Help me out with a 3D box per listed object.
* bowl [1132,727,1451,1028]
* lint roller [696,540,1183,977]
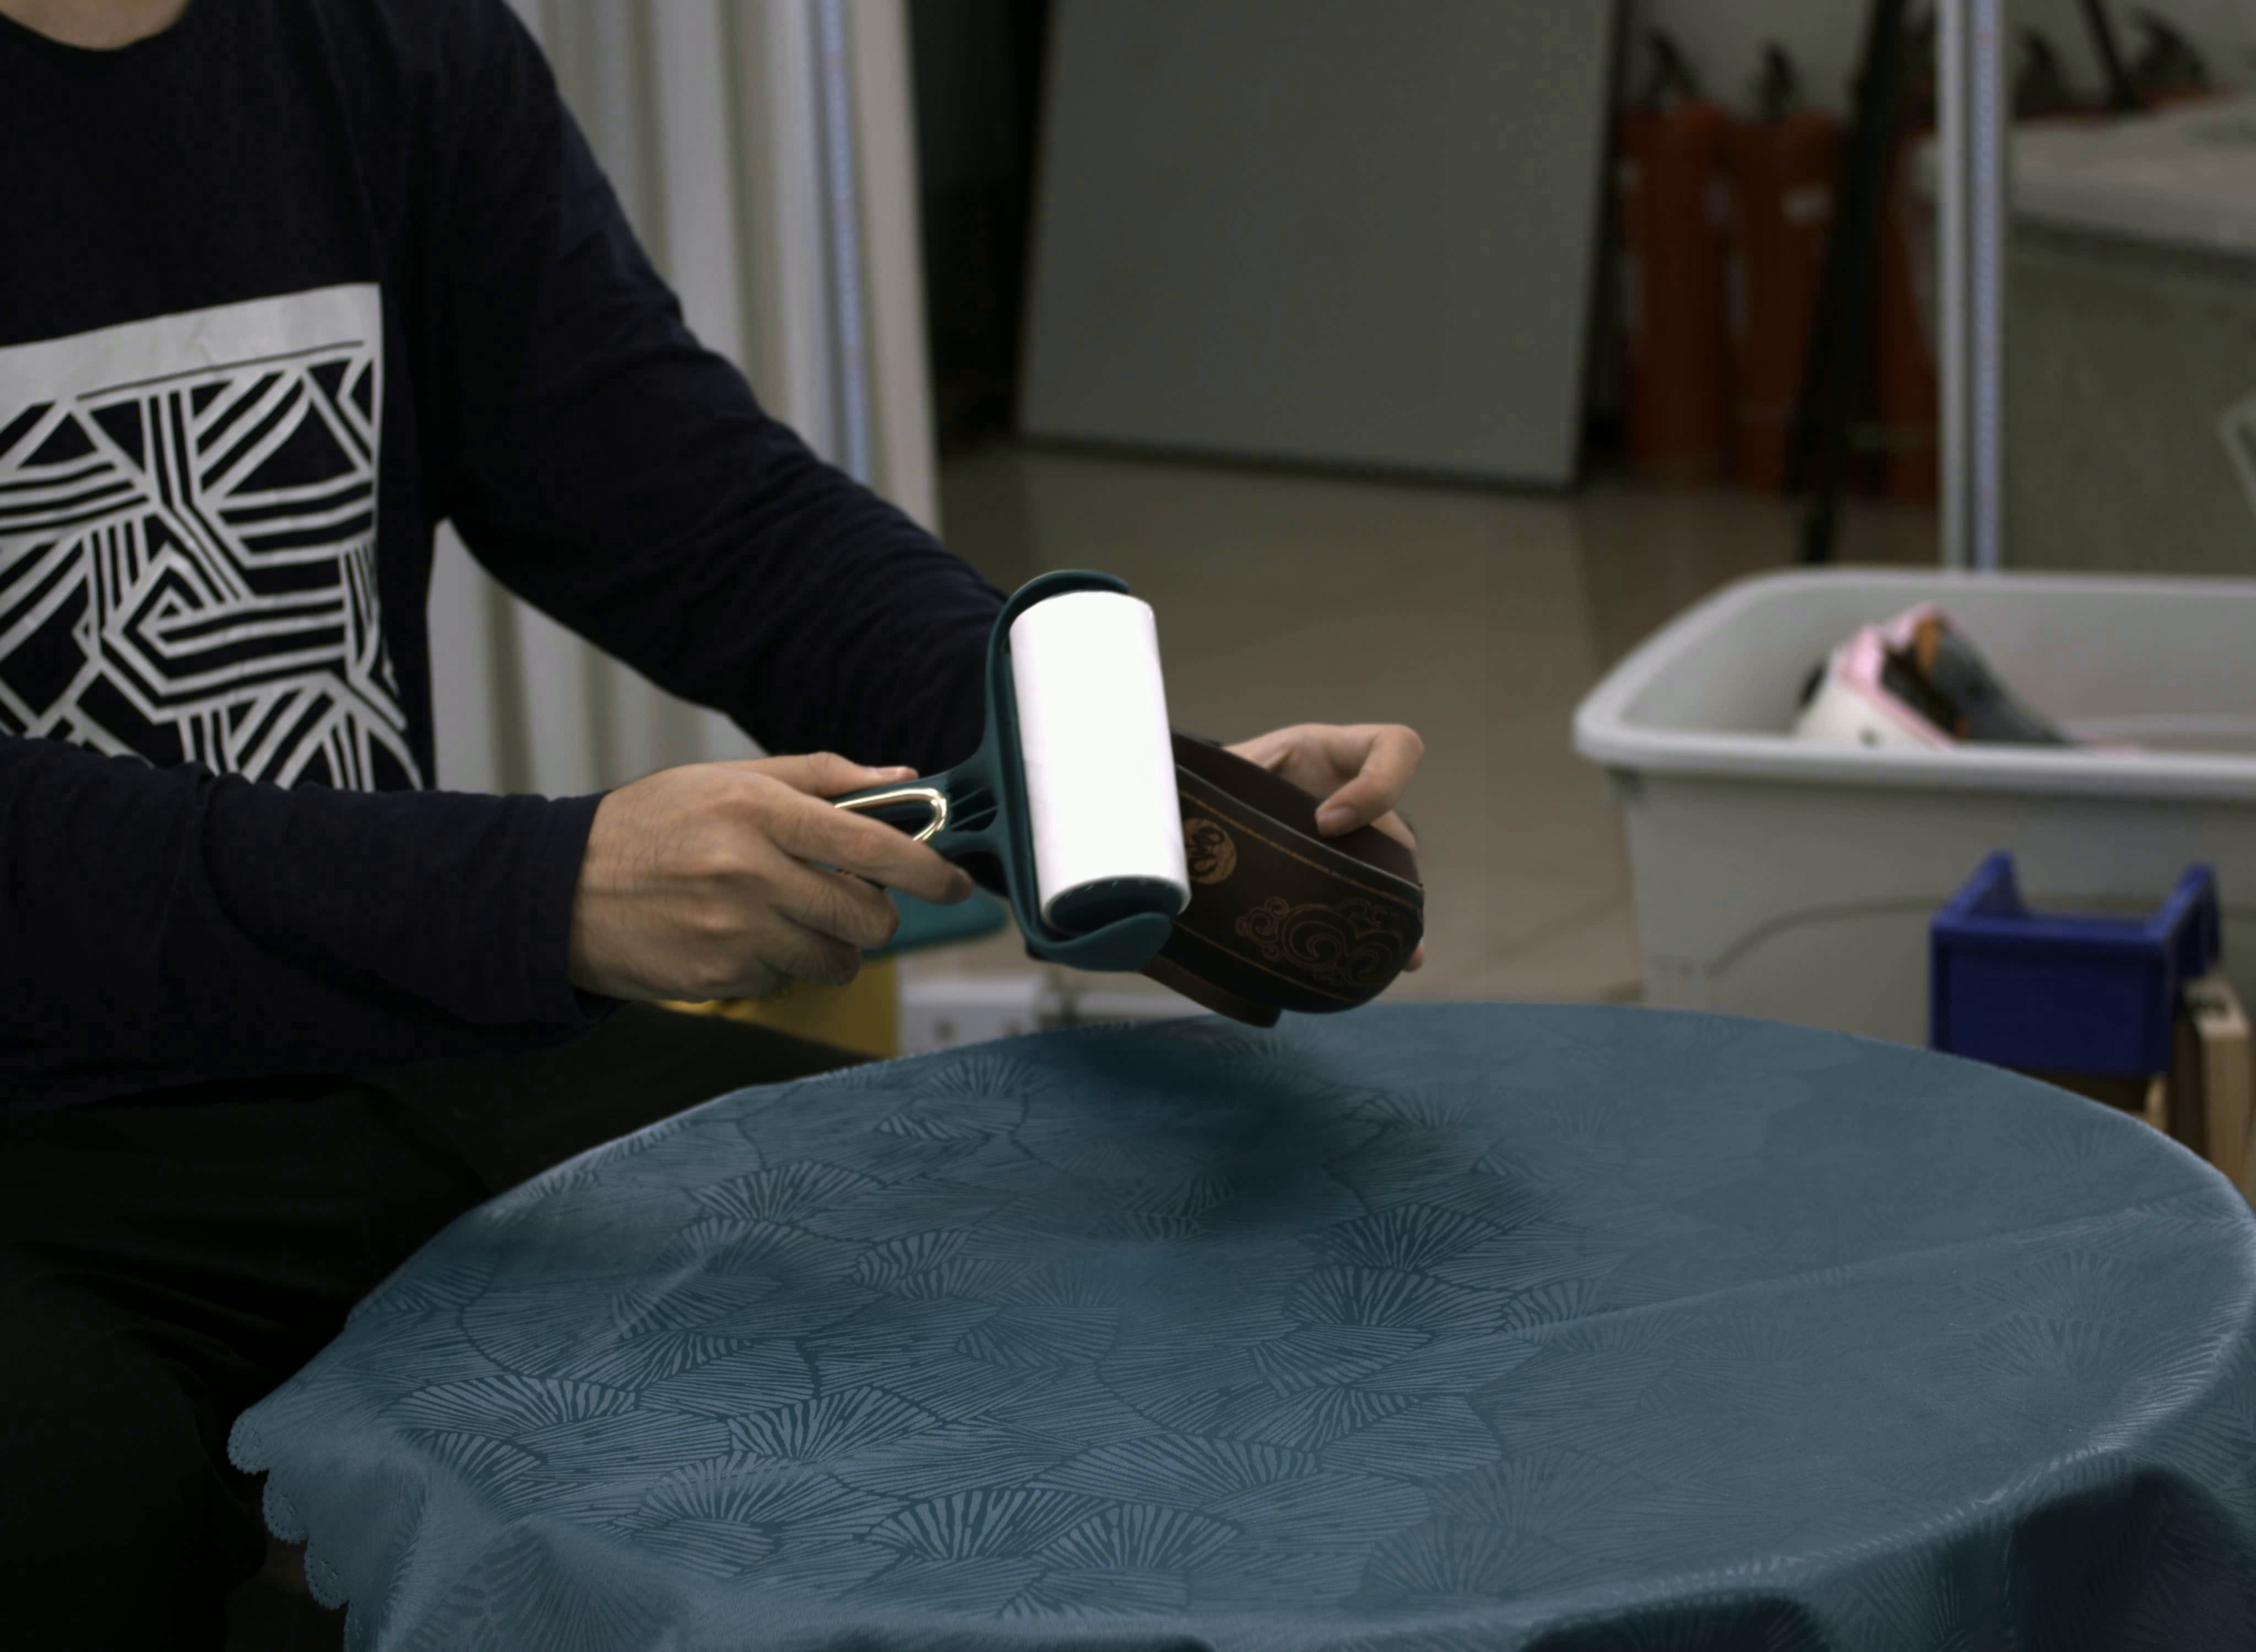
[{"bbox_3d":[0.040,0.022,1.755,0.116,0.070,0.118,23,8,-4],"label":"bowl"},{"bbox_3d":[-0.070,-0.001,1.715,0.180,0.136,0.047,-18,-27,22],"label":"lint roller"}]
